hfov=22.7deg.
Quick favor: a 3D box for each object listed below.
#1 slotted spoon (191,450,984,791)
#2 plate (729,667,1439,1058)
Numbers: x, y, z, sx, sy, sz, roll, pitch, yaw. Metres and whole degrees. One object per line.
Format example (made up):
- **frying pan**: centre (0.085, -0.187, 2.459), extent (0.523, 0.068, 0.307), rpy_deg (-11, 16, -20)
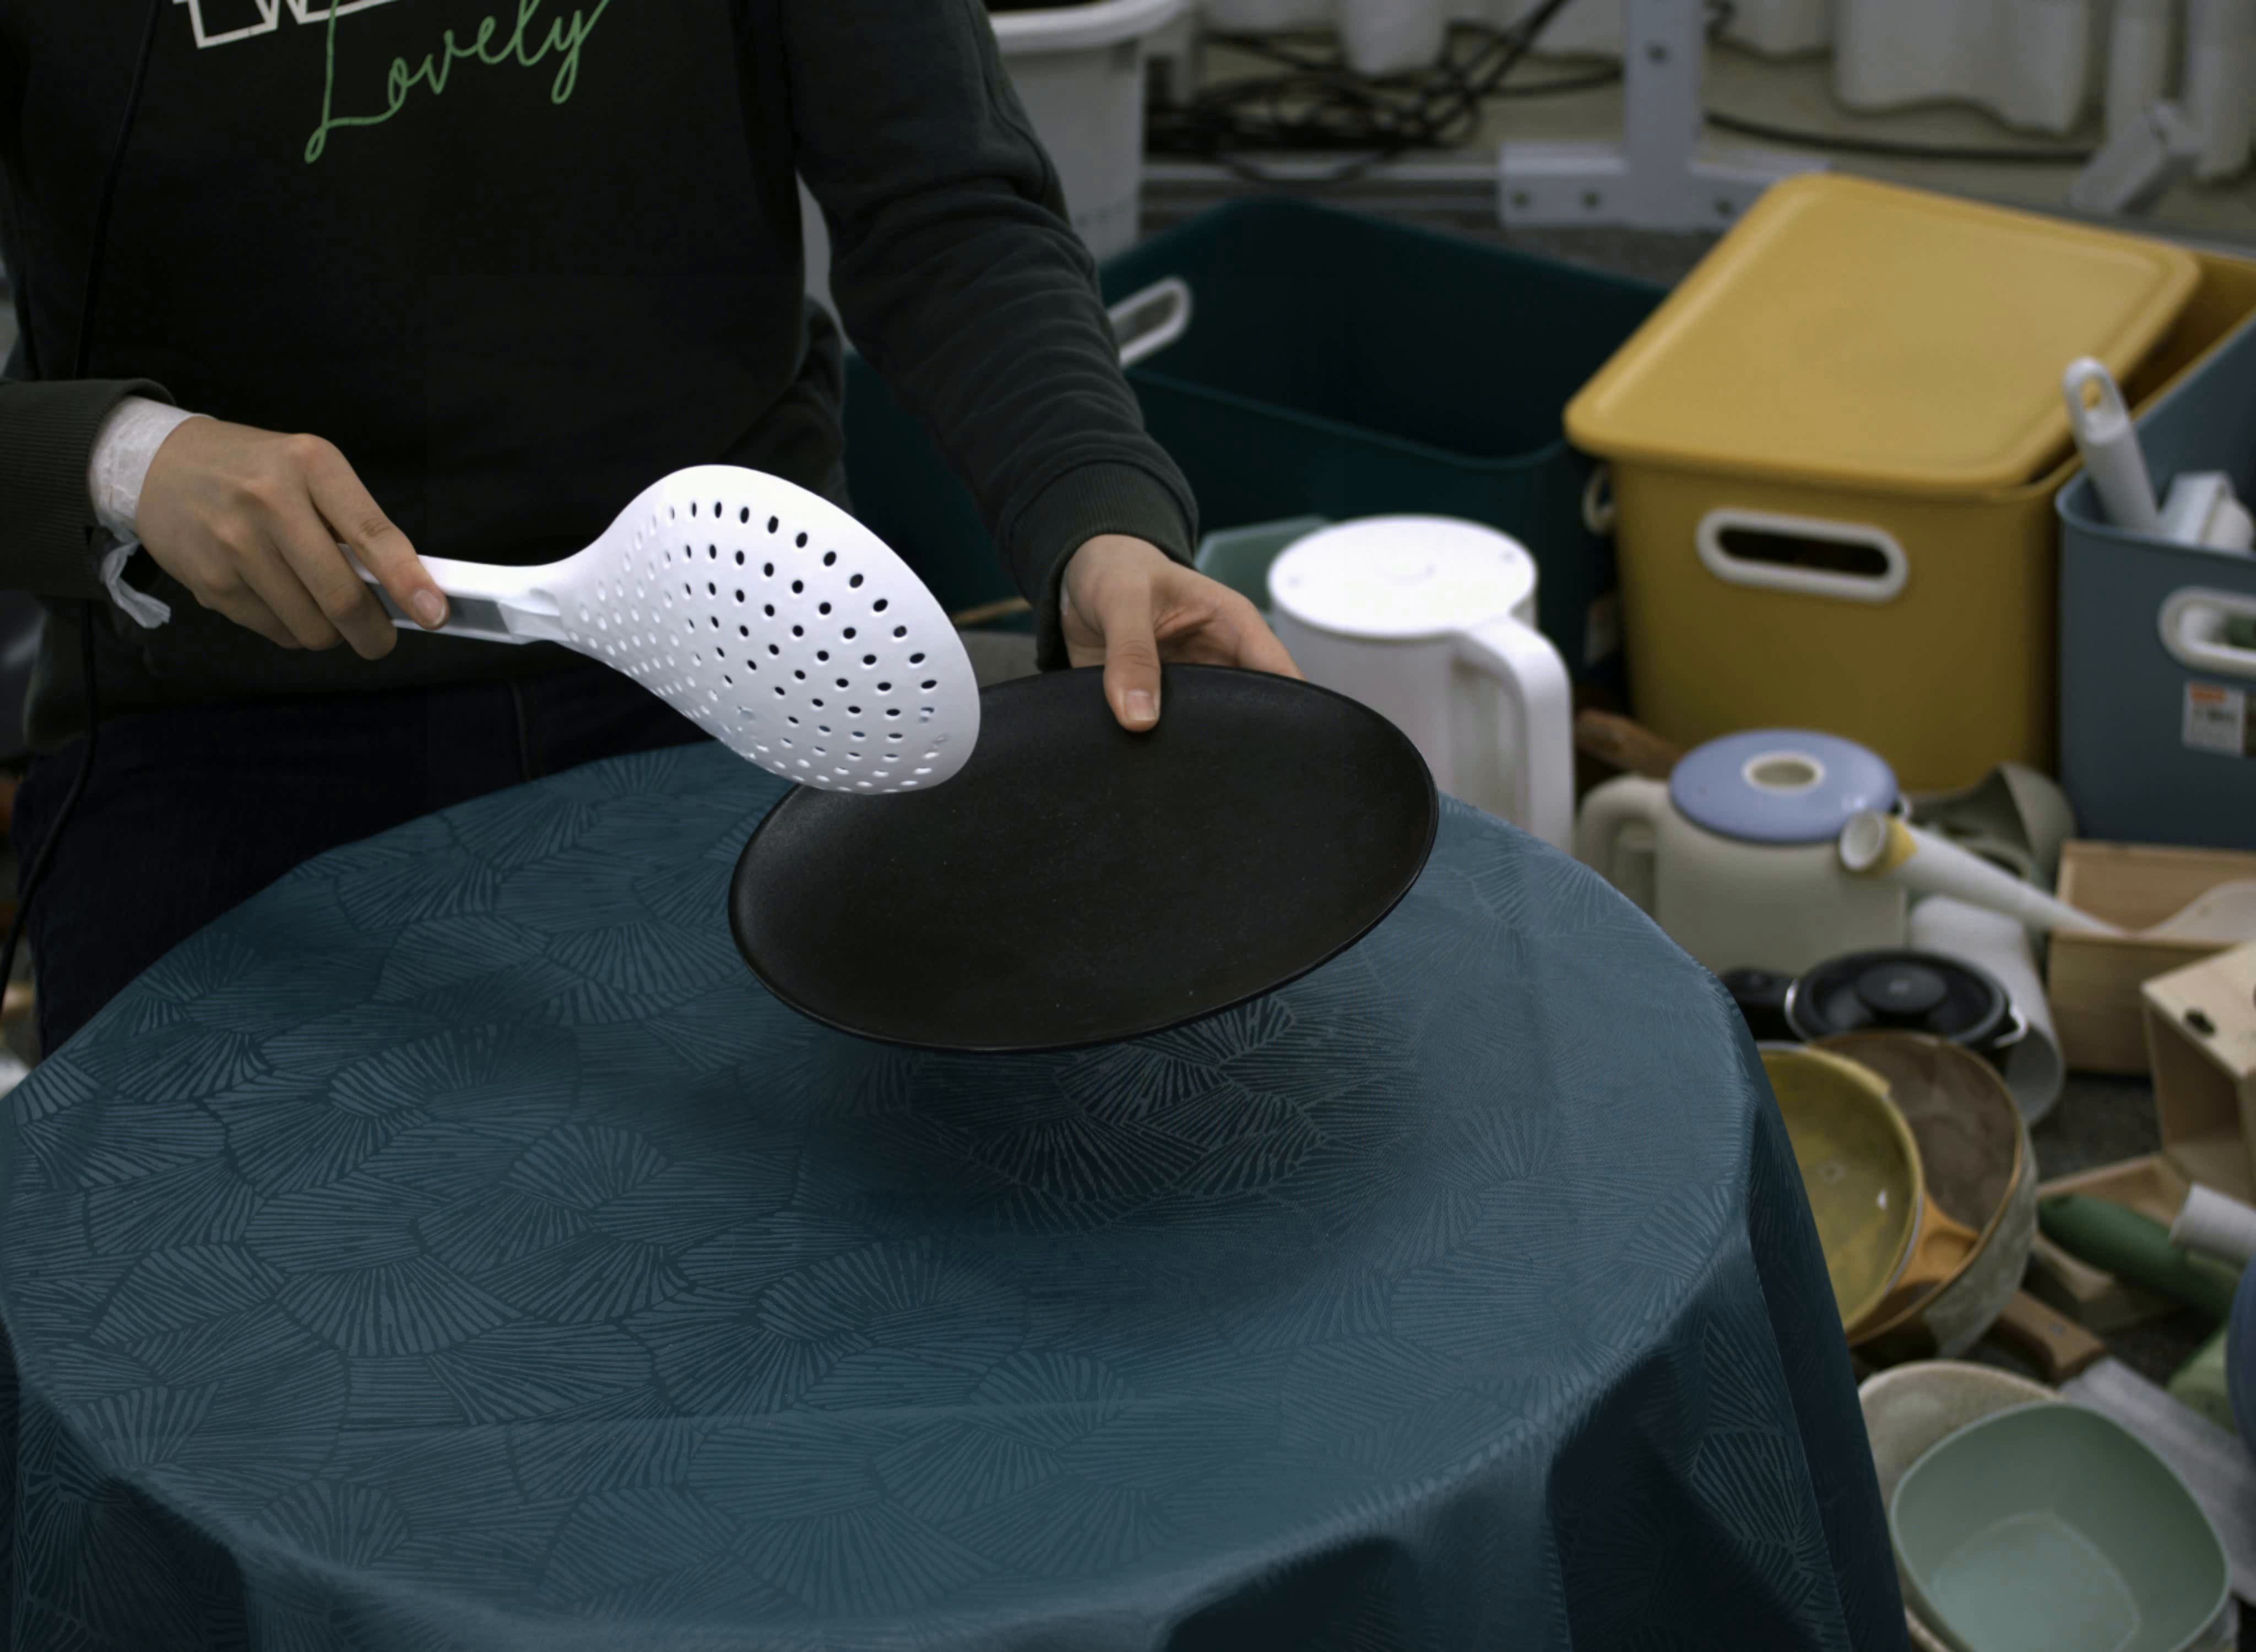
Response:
- **slotted spoon**: centre (-0.192, -0.074, 1.900), extent (0.348, 0.134, 0.046), rpy_deg (12, 45, 41)
- **plate**: centre (-0.014, 0.015, 1.900), extent (0.243, 0.023, 0.248), rpy_deg (-7, 30, 4)
